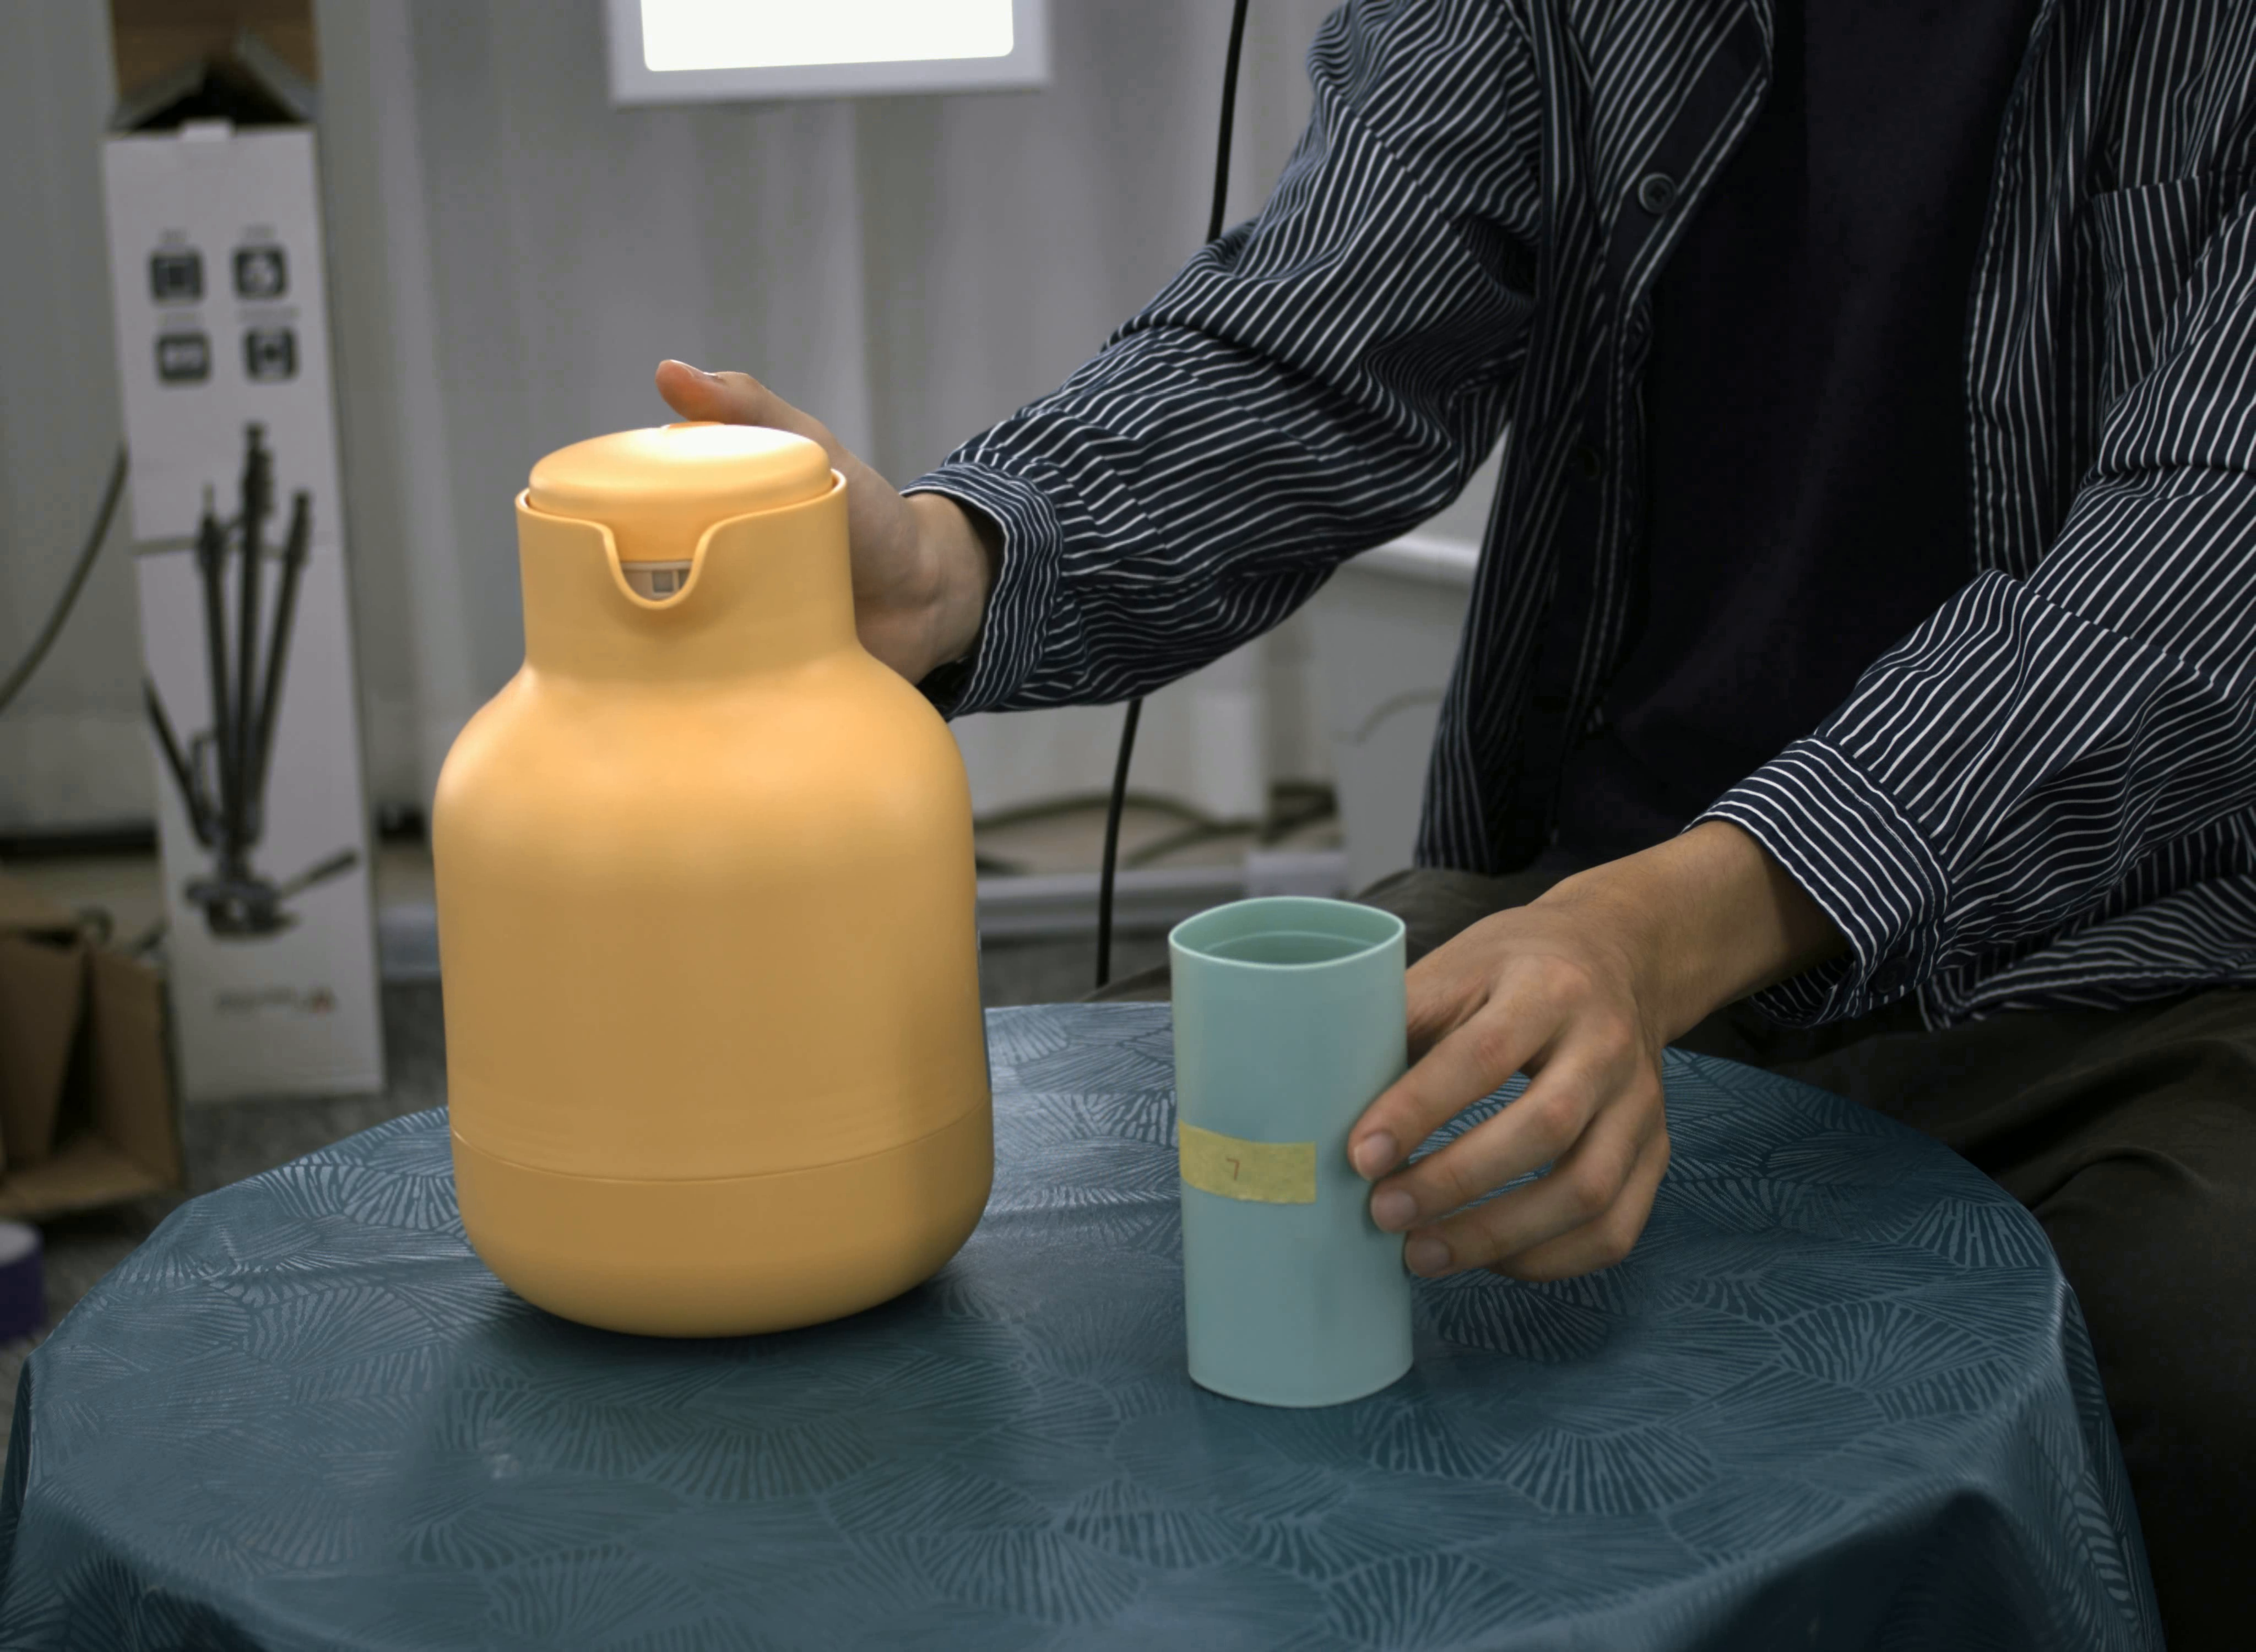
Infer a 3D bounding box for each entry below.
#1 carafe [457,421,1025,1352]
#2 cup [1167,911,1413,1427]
[{"bbox_3d":[-0.115,0.010,1.634,0.163,0.259,0.204,-2,14,0],"label":"carafe"},{"bbox_3d":[0.047,0.095,1.539,0.066,0.132,0.067,-2,14,0],"label":"cup"}]
